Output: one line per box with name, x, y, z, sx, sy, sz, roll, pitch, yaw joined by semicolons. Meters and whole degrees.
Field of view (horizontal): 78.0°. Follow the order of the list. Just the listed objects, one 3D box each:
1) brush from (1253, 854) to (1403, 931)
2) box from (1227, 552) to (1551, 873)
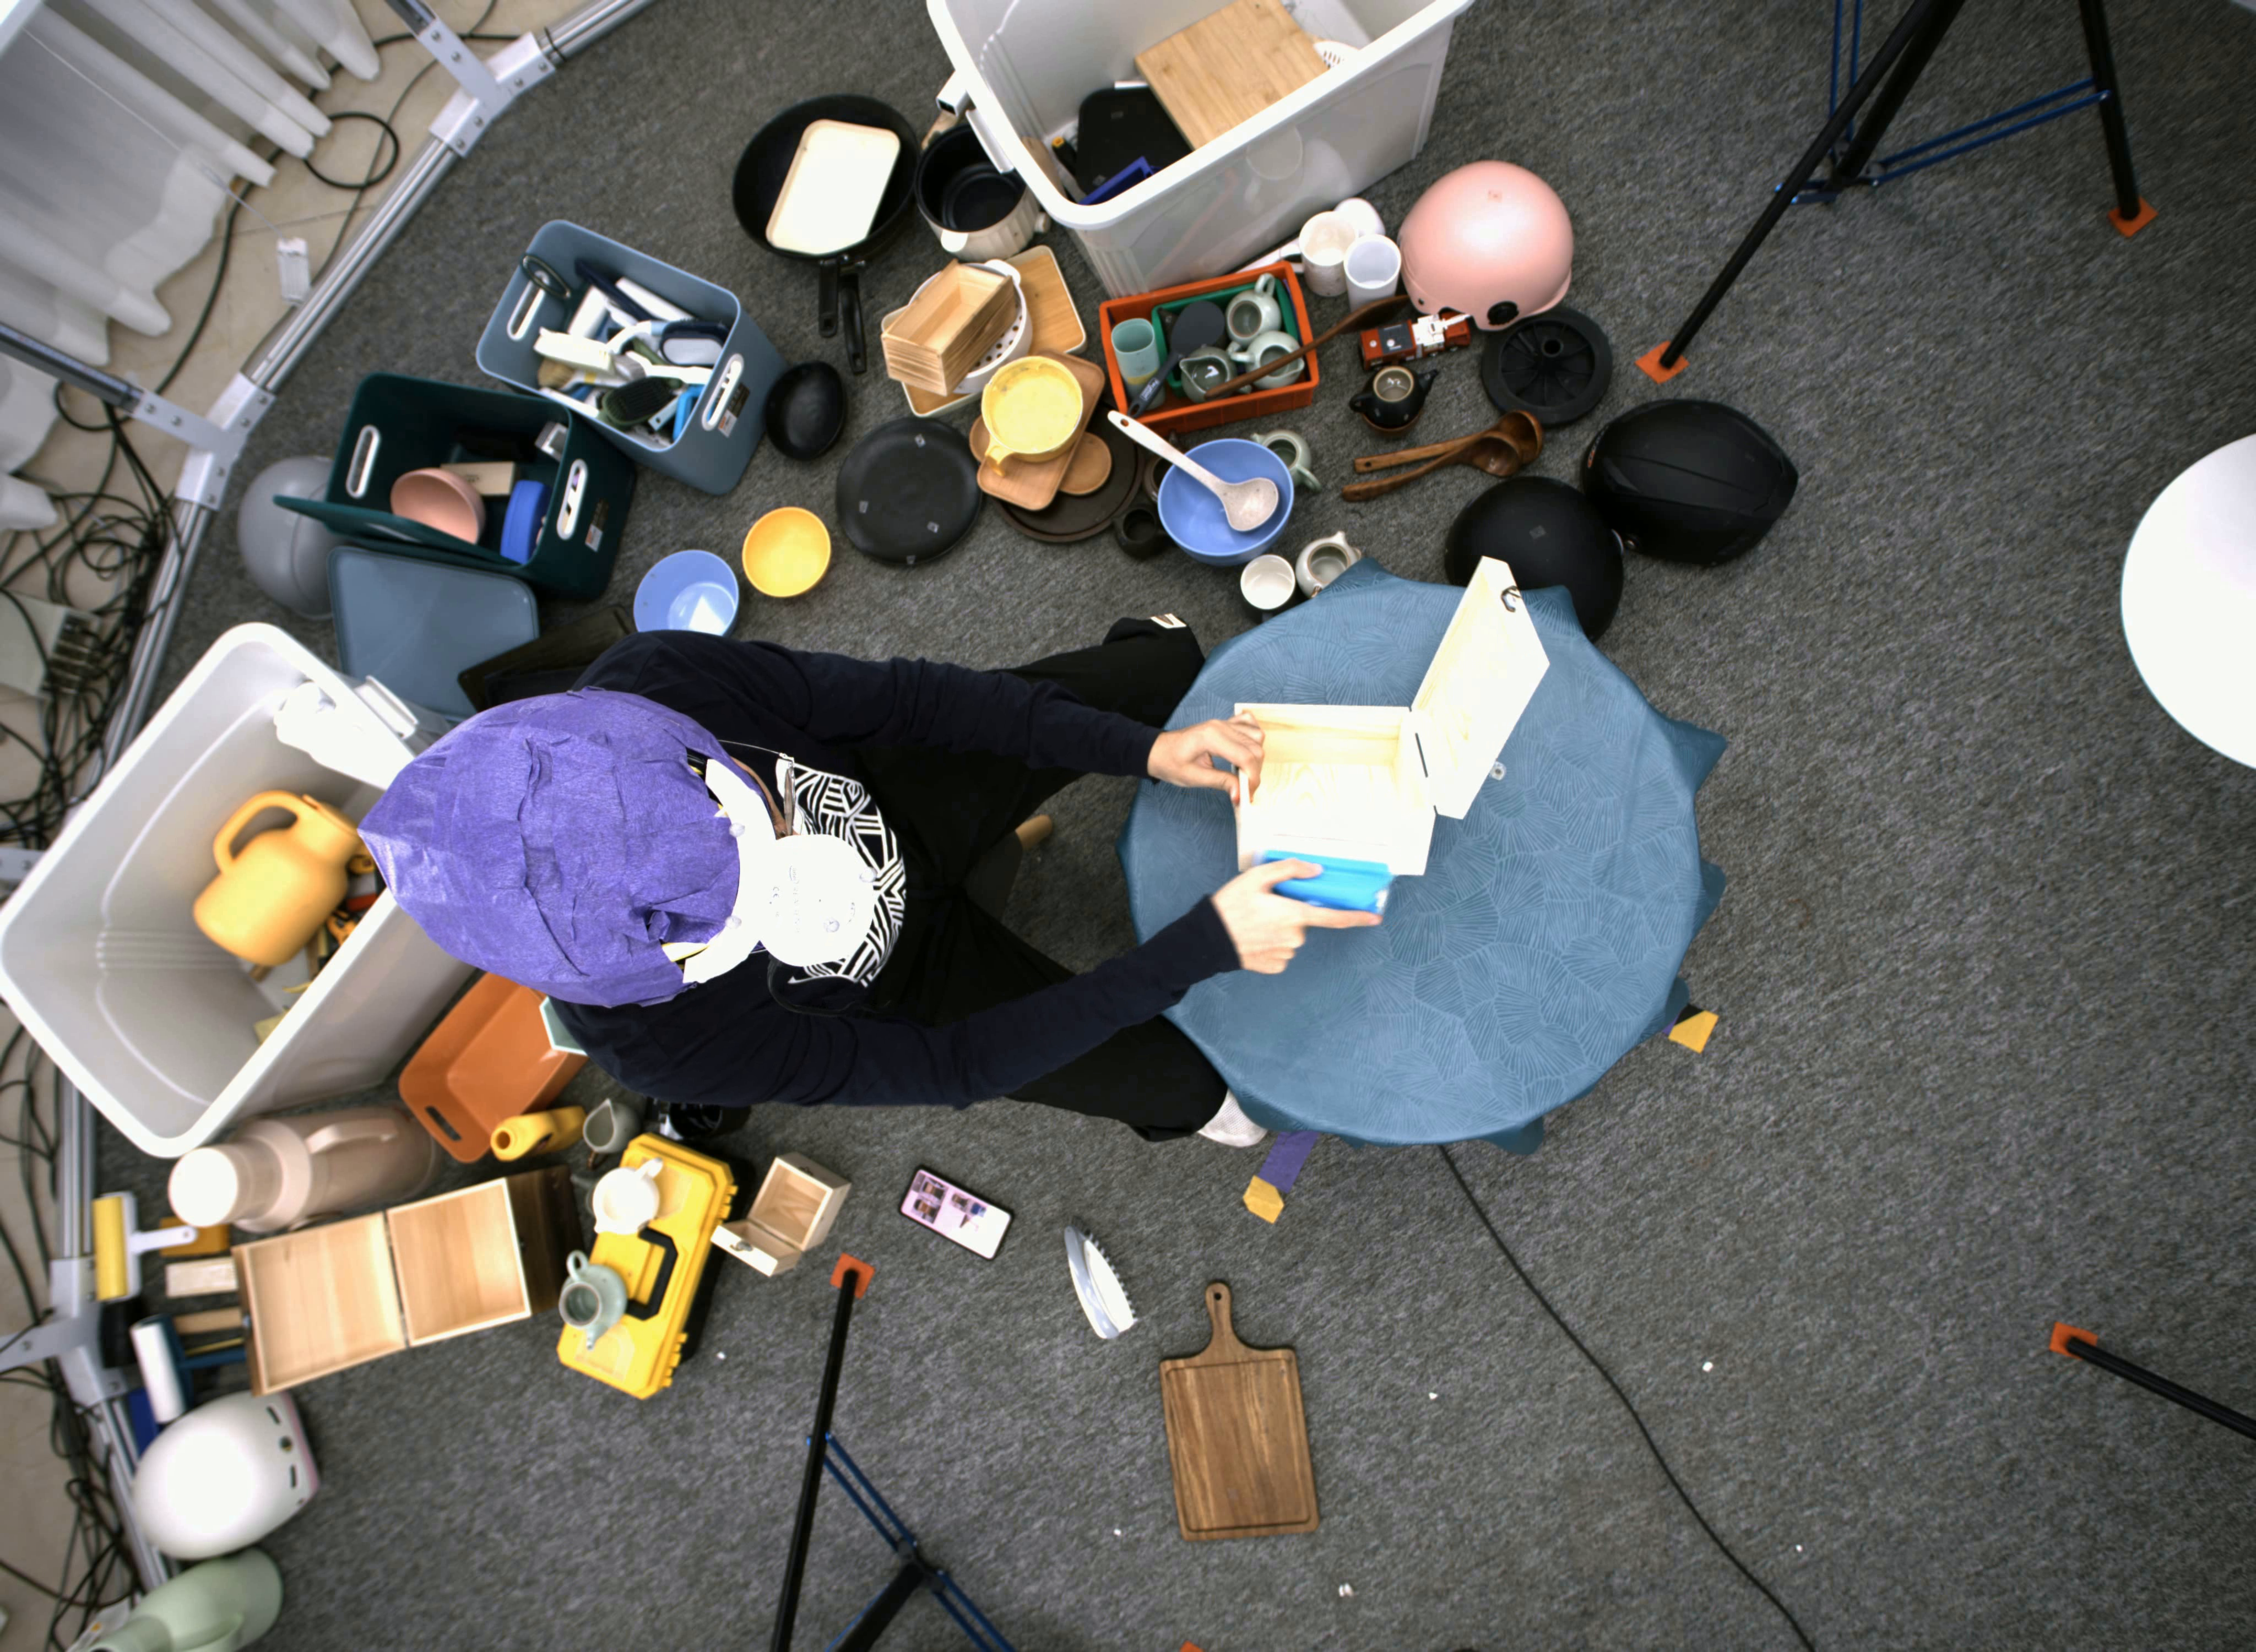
brush;0.194;0.071;1.325;0.144;0.054;0.086;-2;123;0
box;0.229;-0.109;1.311;0.265;0.177;0.259;0;131;0
